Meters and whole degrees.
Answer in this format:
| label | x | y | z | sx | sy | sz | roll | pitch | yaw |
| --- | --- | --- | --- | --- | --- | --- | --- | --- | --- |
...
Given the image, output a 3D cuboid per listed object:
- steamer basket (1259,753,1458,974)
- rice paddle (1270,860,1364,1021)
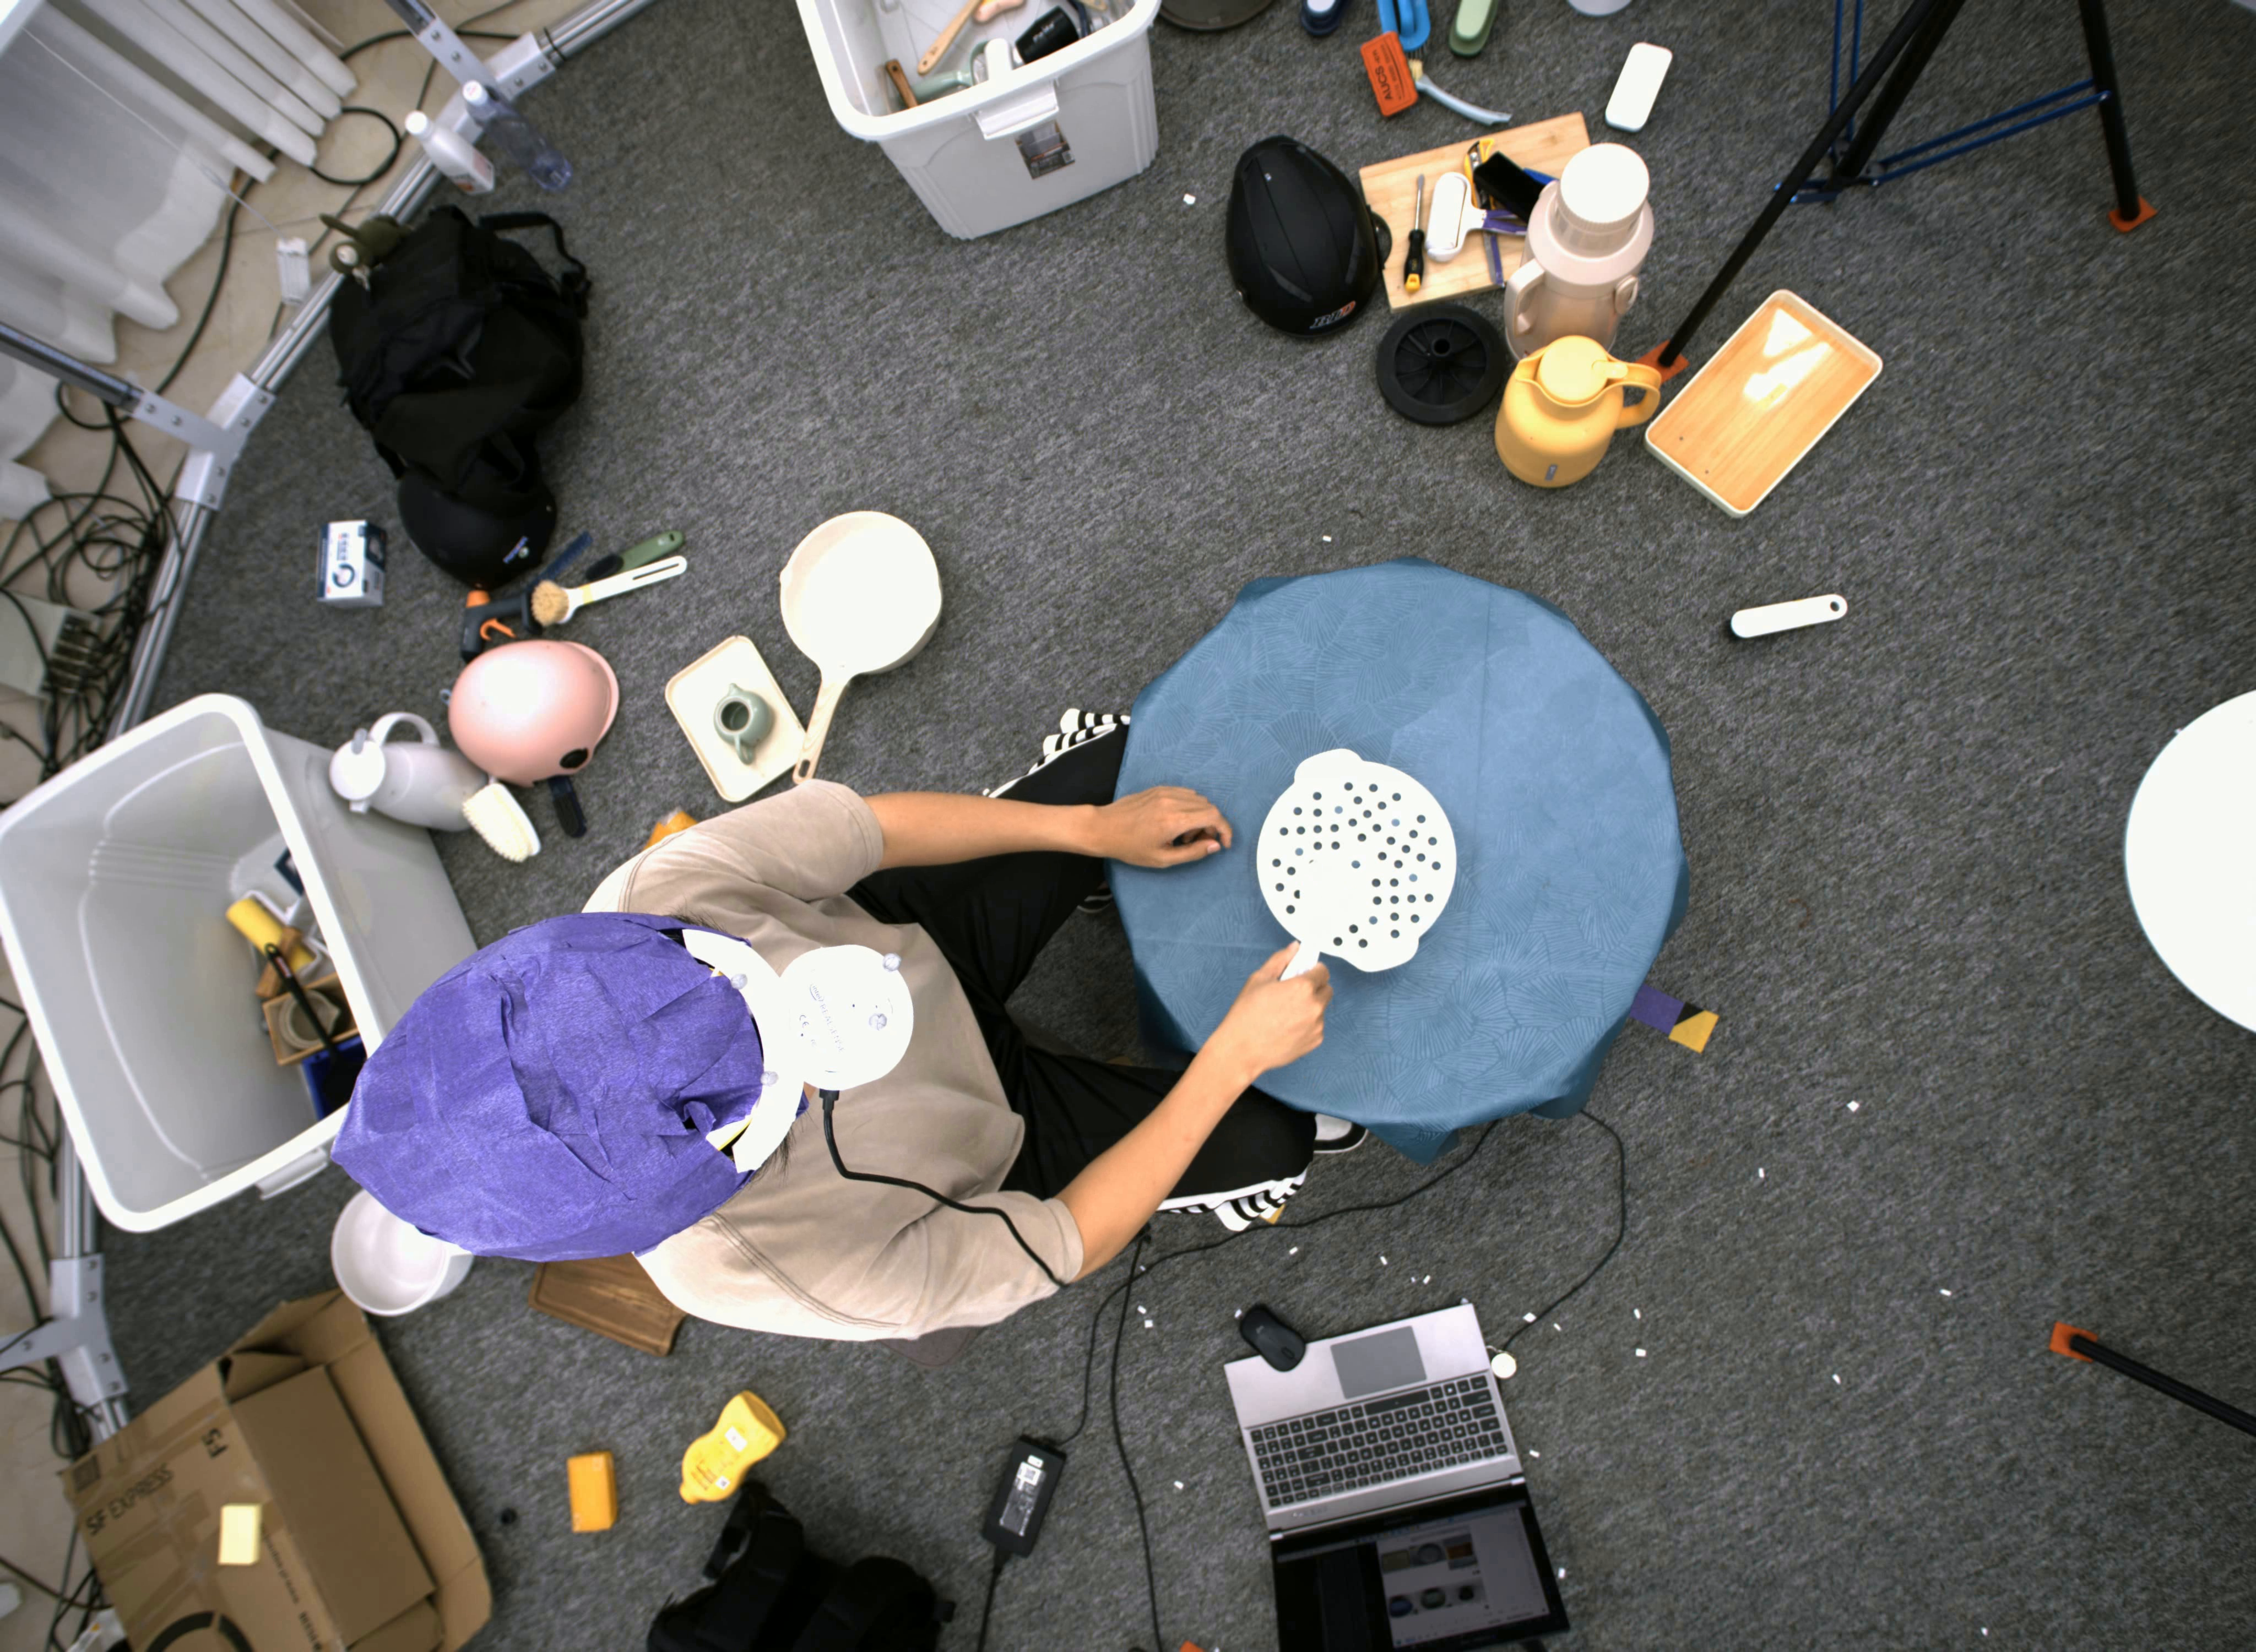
| label | x | y | z | sx | sy | sz | roll | pitch | yaw |
| --- | --- | --- | --- | --- | --- | --- | --- | --- | --- |
| steamer basket | 0.239 | 0.040 | 1.436 | 0.203 | 0.069 | 0.228 | -17 | 81 | 9 |
| rice paddle | 0.187 | 0.106 | 1.385 | 0.069 | 0.030 | 0.200 | 25 | 52 | 4 |
